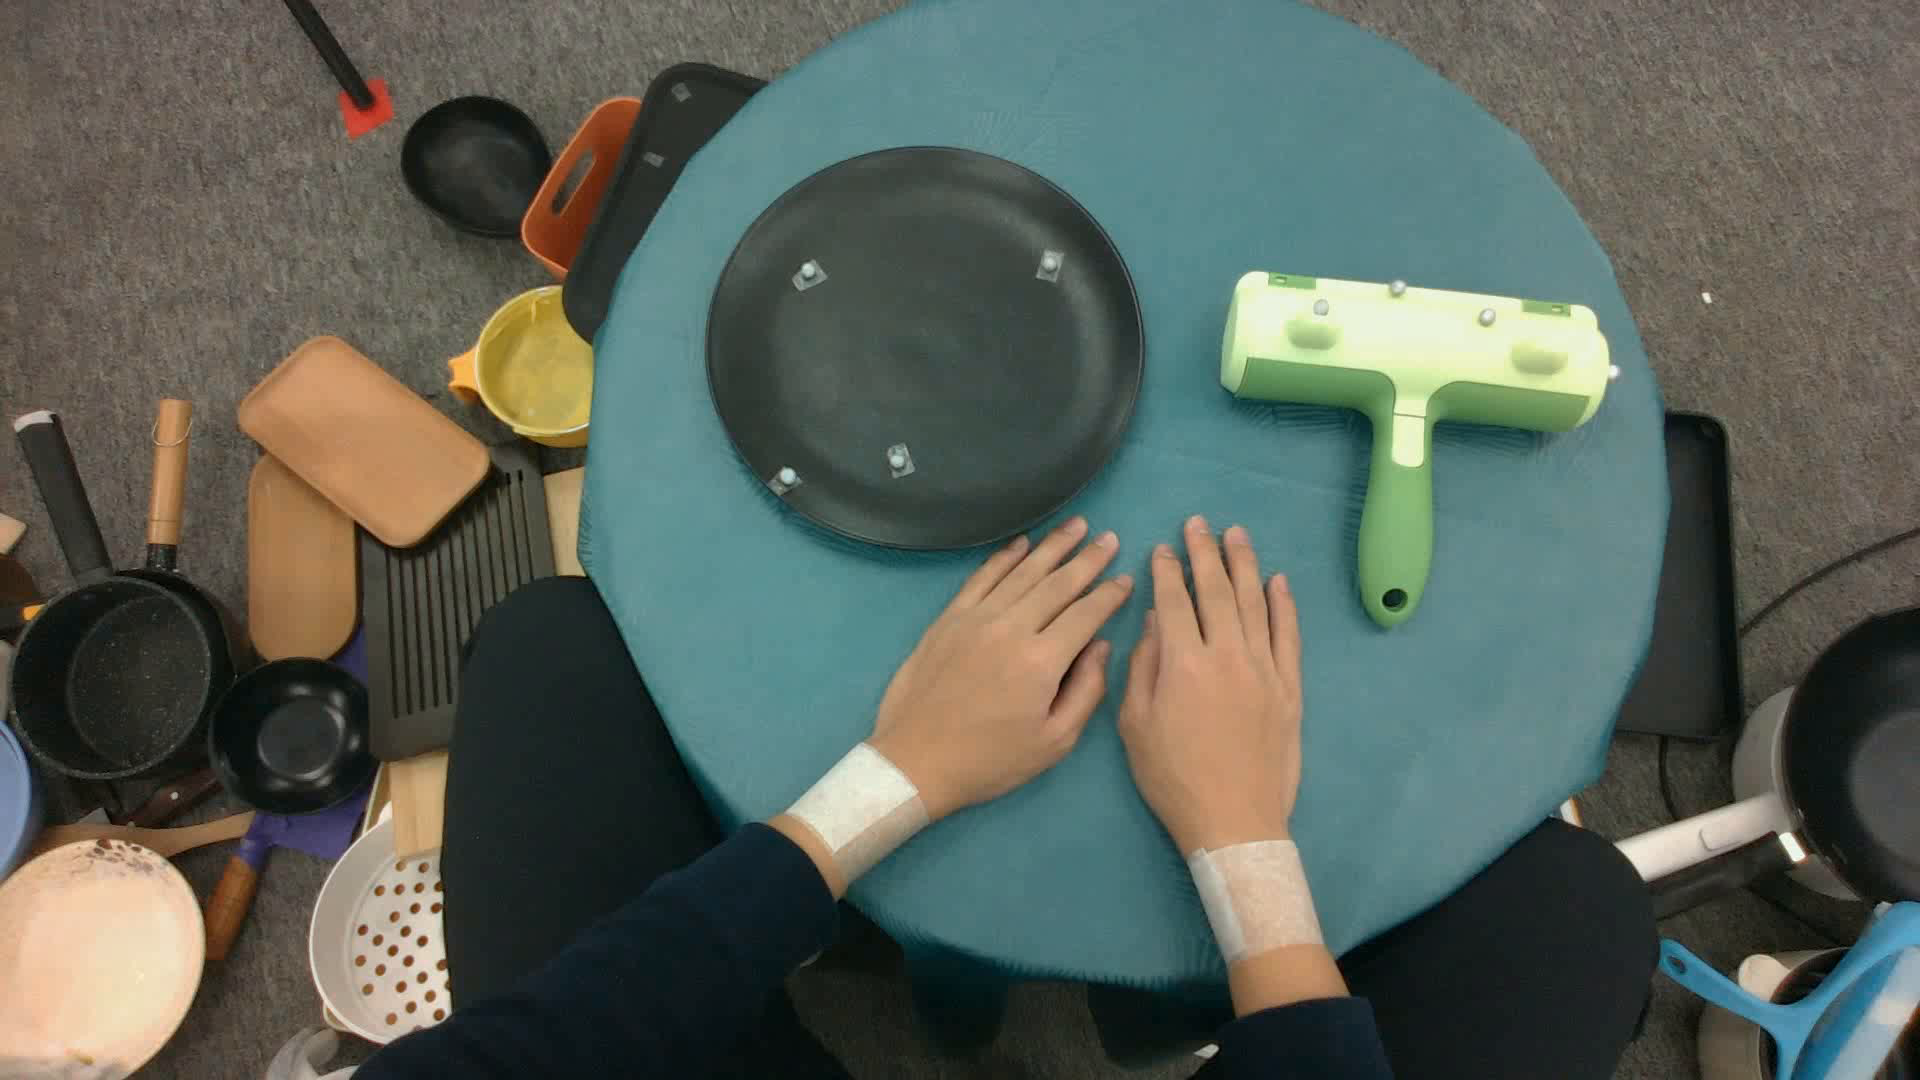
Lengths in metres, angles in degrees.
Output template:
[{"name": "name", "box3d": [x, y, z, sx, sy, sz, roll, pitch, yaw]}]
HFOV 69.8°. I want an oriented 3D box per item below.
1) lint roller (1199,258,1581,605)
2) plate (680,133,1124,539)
[{"name": "lint roller", "box3d": [0.227, -0.063, 0.722, 0.198, 0.082, 0.184, 5, 67, 2]}, {"name": "plate", "box3d": [-0.032, -0.114, 0.765, 0.244, 0.023, 0.245, 0, 73, -1]}]
